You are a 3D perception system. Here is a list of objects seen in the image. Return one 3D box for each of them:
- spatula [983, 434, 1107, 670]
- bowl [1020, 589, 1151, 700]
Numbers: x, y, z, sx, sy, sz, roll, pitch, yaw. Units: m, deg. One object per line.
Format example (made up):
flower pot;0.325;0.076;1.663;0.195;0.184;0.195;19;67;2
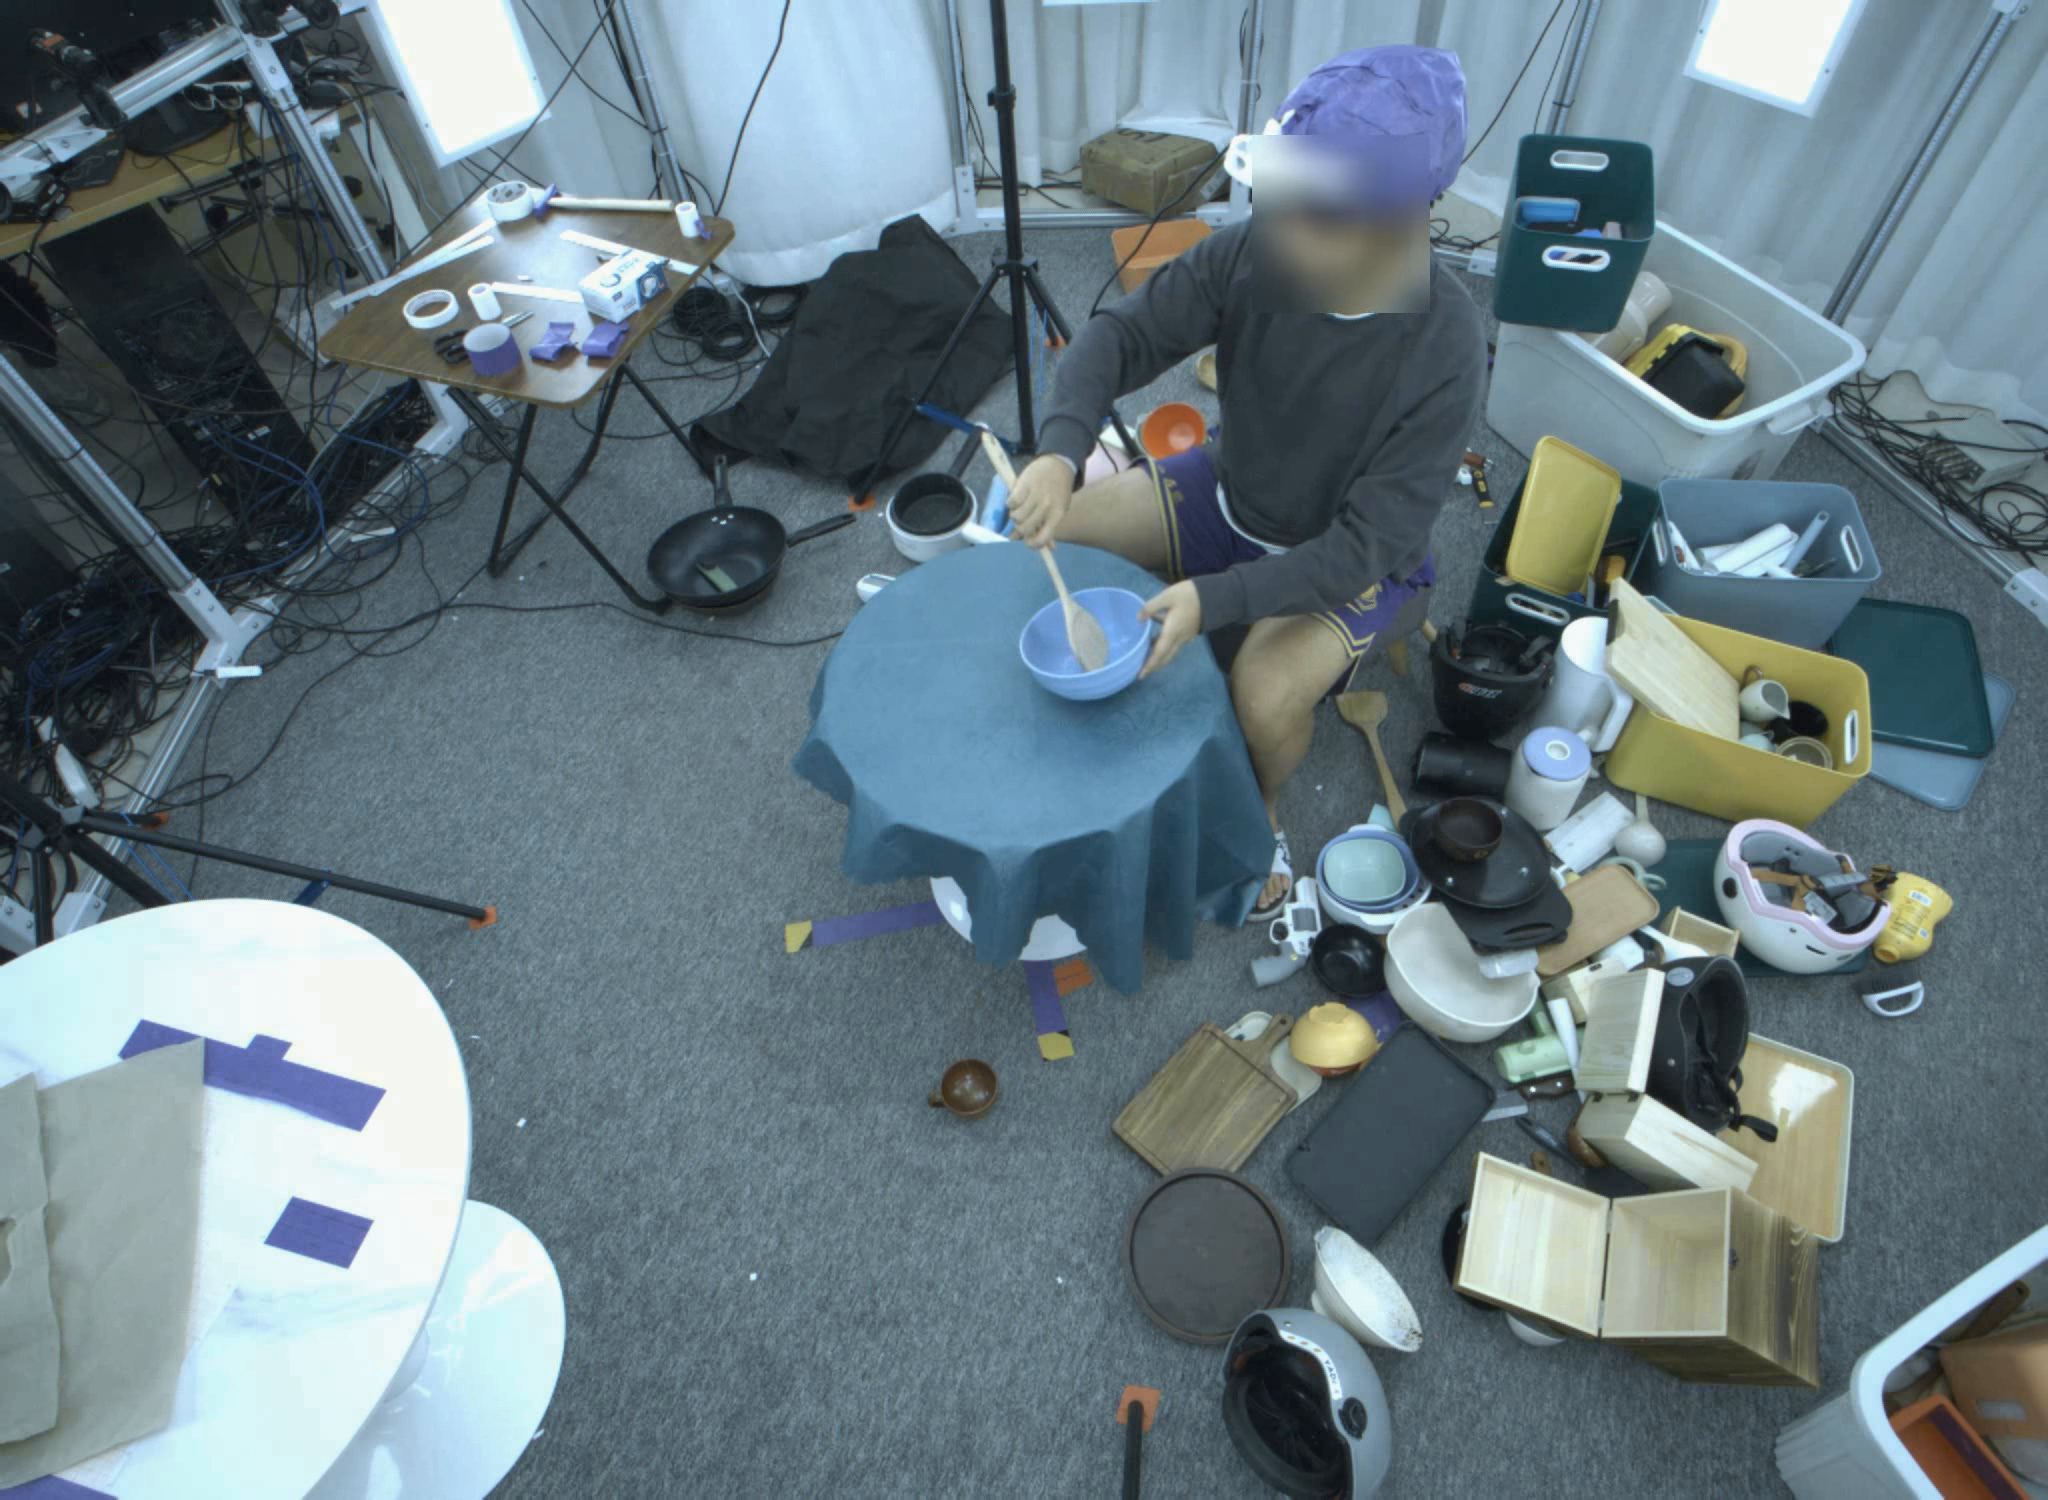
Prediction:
spatula;0.029;-0.270;1.723;0.018;0.397;0.095;-11;33;28
bowl;0.102;-0.140;1.811;0.195;0.097;0.194;-12;43;13
